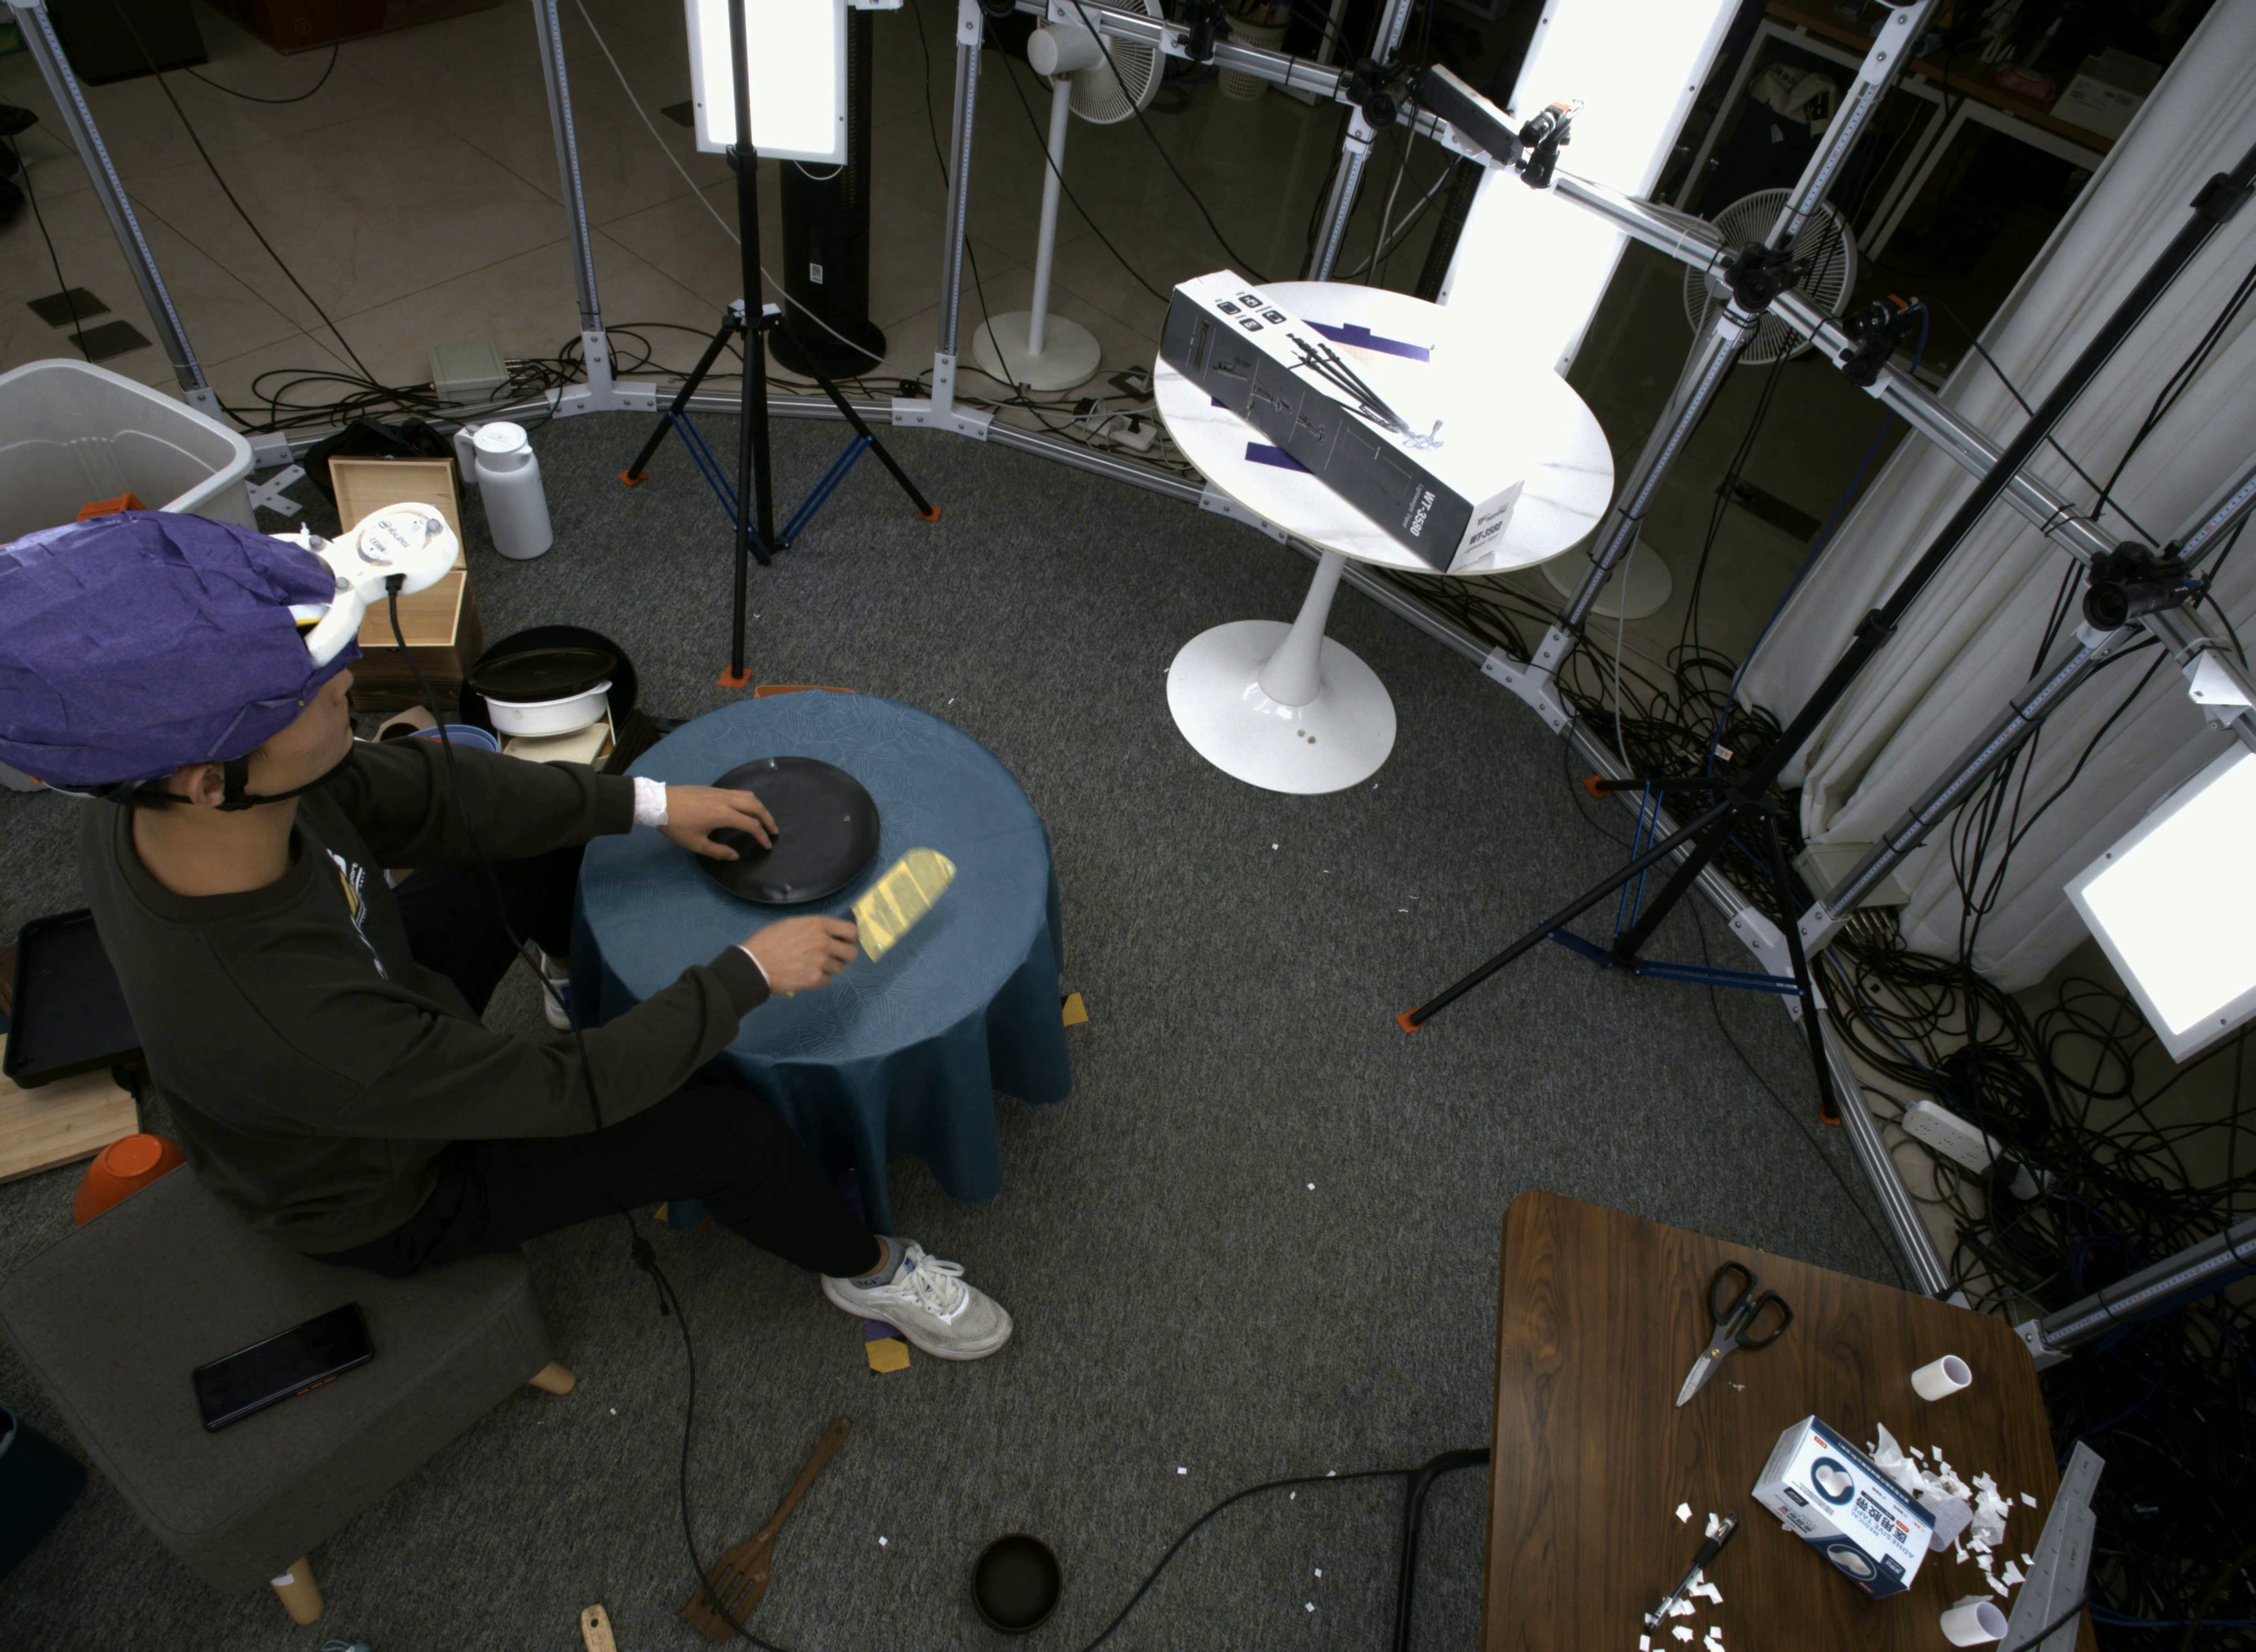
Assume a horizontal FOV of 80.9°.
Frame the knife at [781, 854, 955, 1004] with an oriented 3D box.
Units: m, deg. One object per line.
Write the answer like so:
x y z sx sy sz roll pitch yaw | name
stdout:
-0.310 0.127 1.594 0.289 0.026 0.083 -43 116 -35 | knife

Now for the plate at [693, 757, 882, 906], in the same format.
-0.448 0.007 1.709 0.244 0.024 0.240 8 53 -9 | plate
